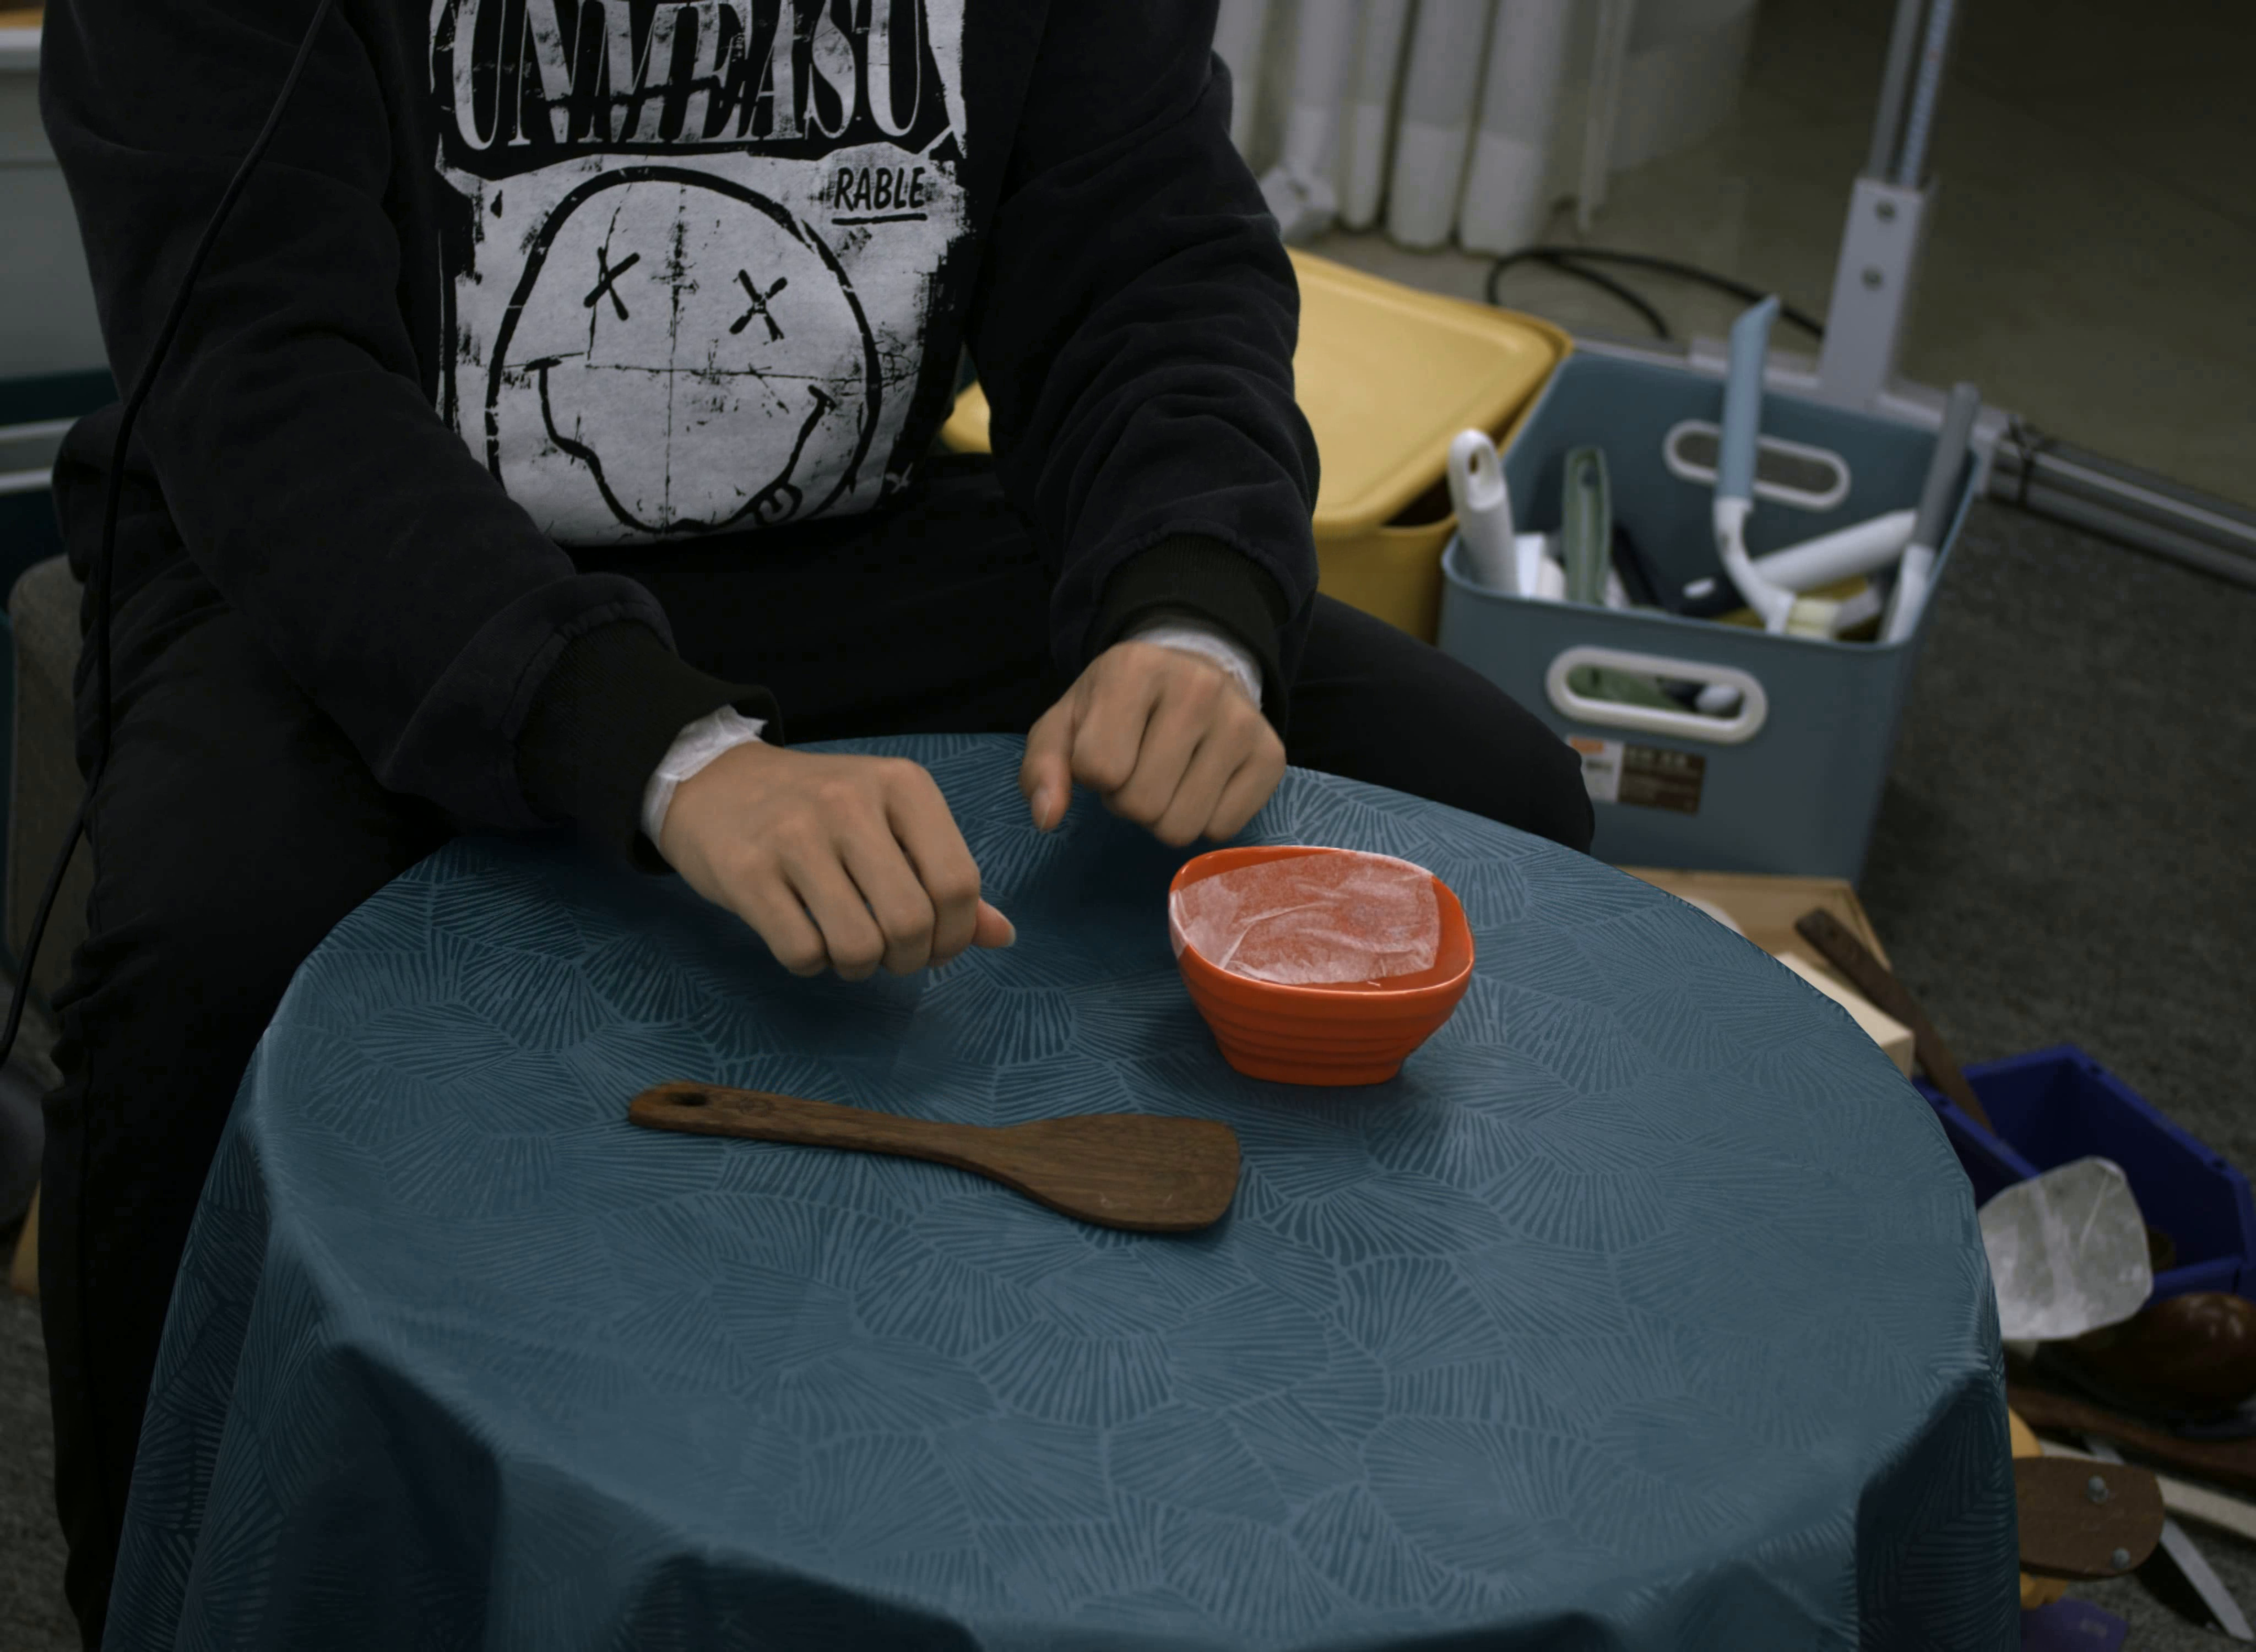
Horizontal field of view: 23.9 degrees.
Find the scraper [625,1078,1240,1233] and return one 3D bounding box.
[{"bbox_3d":[-0.067,0.107,1.809,0.211,0.011,0.076,8,26,4],"label":"scraper"}]

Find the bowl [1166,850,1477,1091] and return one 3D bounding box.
[{"bbox_3d":[0.066,0.056,1.896,0.118,0.051,0.119,5,28,-3],"label":"bowl"}]
